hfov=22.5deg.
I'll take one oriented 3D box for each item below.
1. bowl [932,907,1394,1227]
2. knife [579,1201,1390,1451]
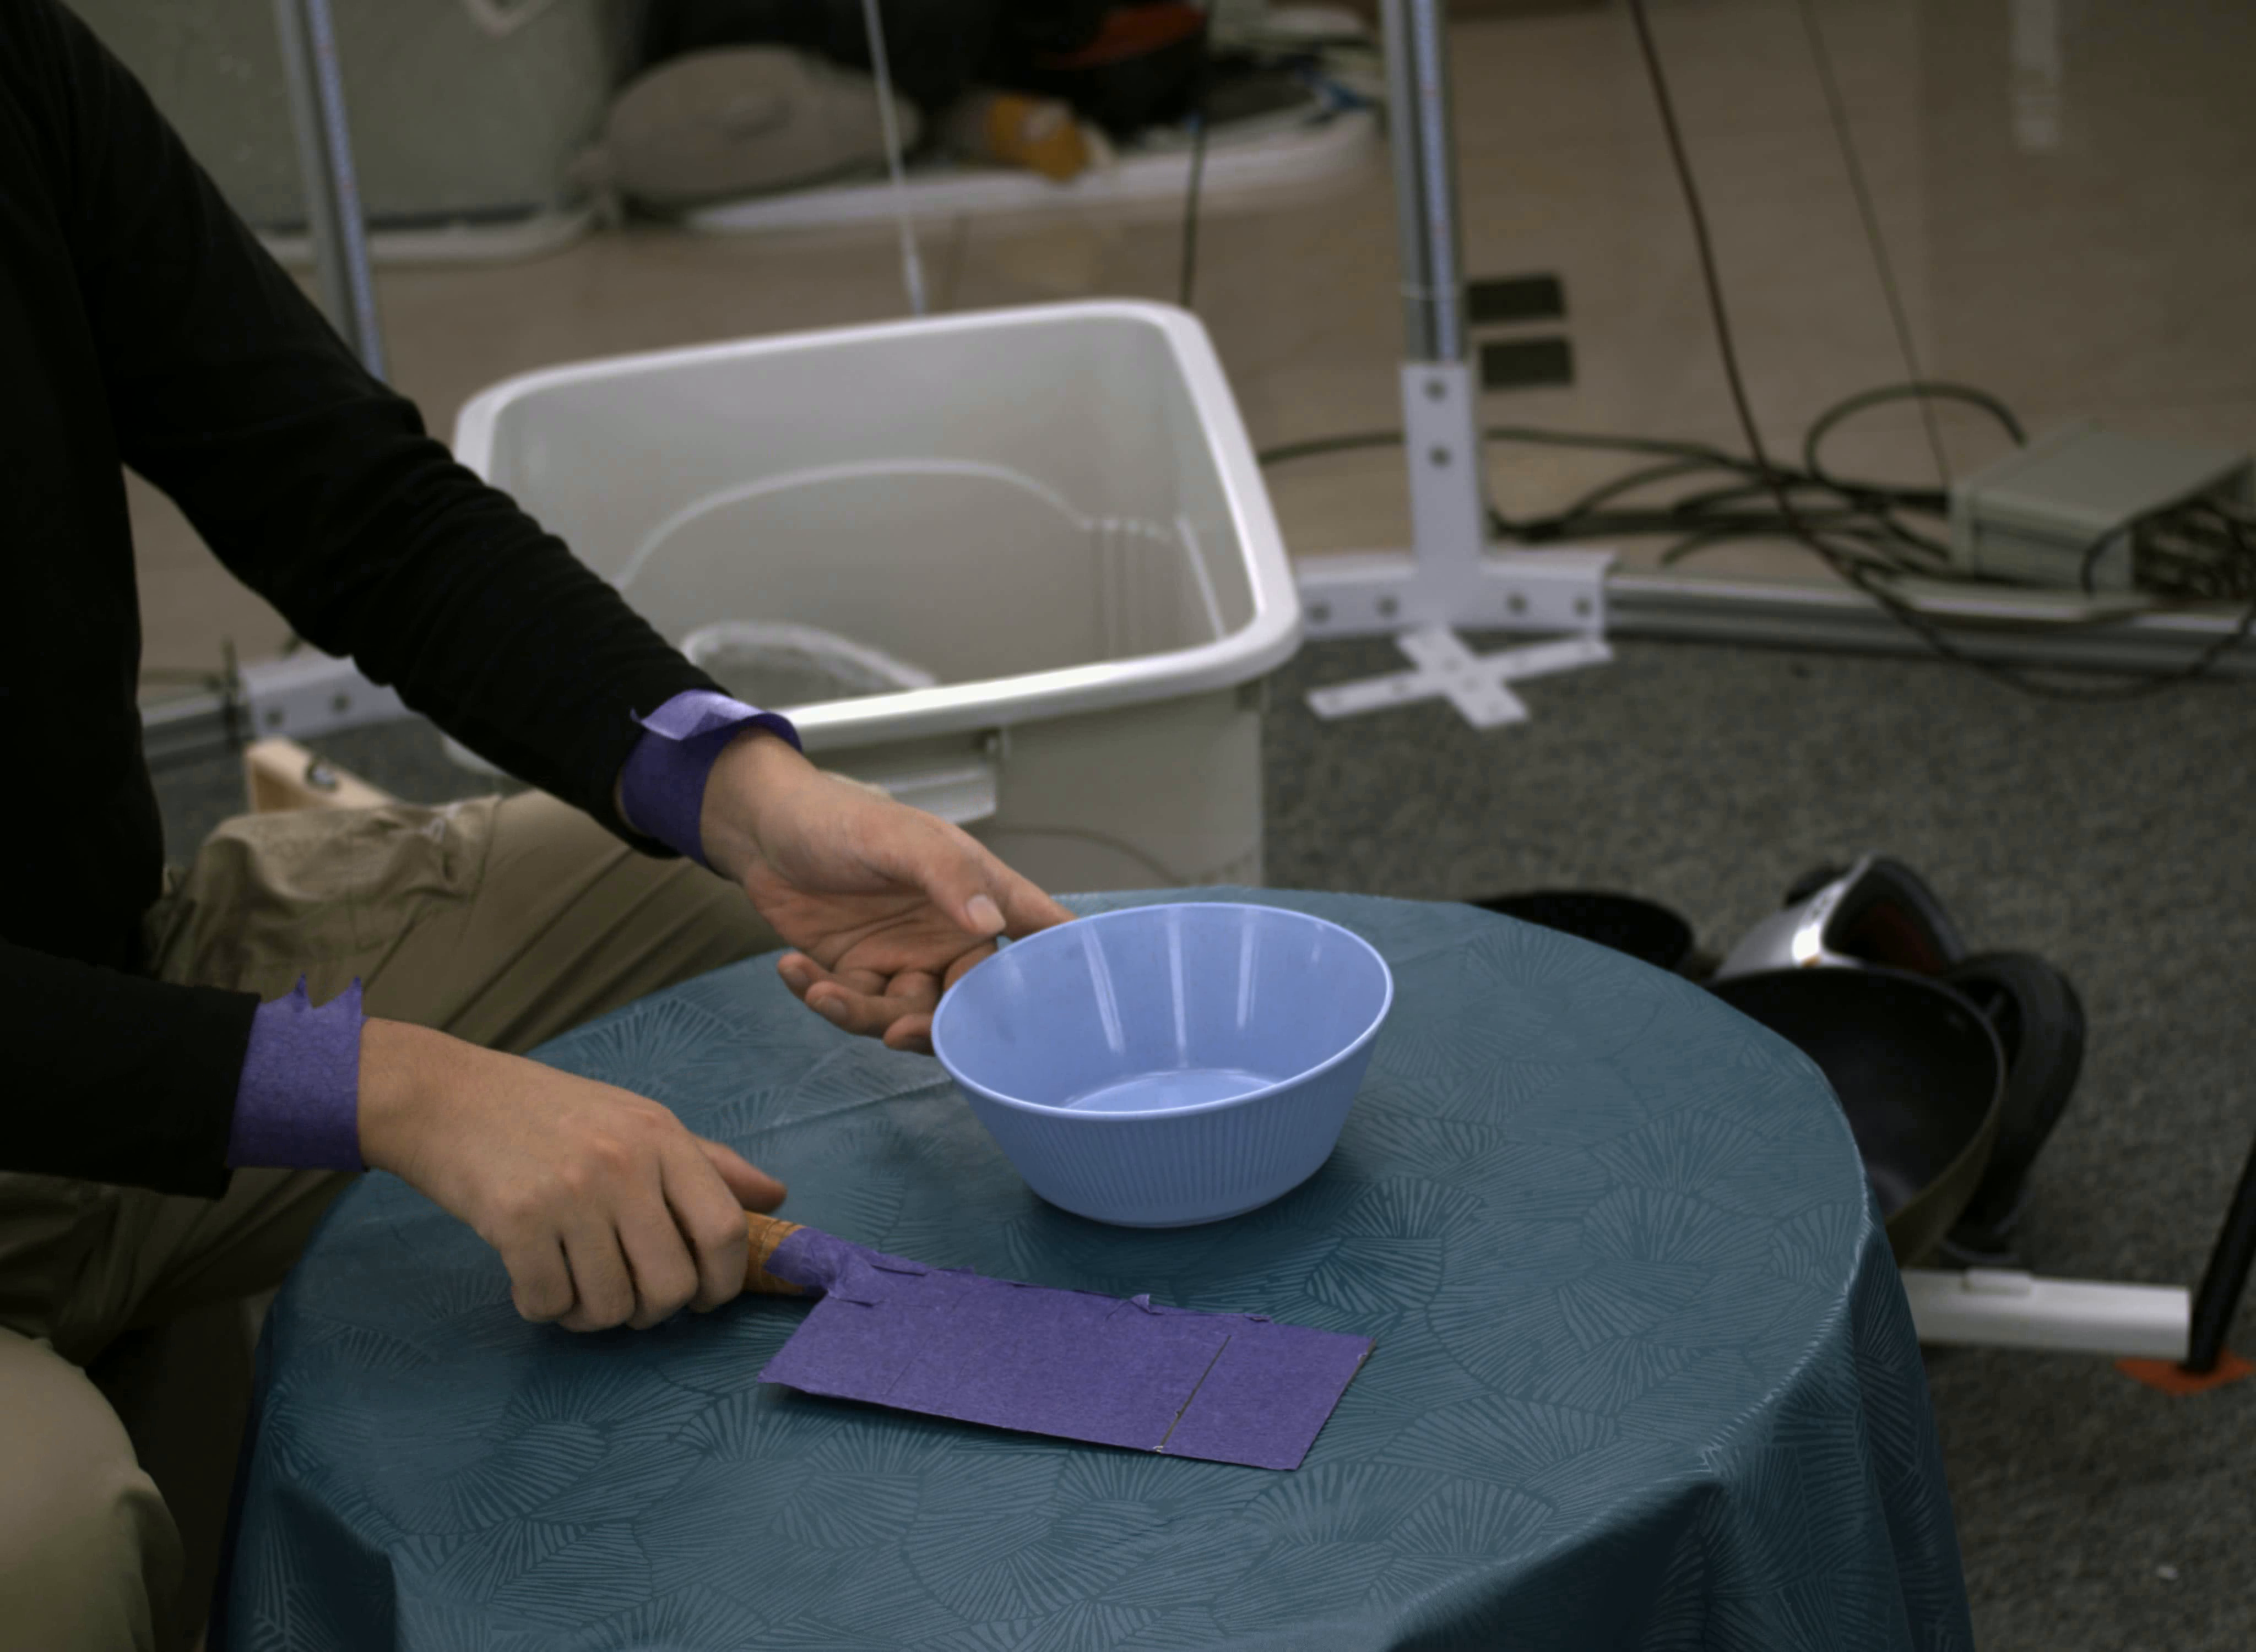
[{"bbox_3d":[0.016,0.097,2.151,0.176,0.071,0.173,-6,24,3],"label":"bowl"},{"bbox_3d":[-0.067,0.180,2.048,0.314,0.033,0.102,5,27,22],"label":"knife"}]
